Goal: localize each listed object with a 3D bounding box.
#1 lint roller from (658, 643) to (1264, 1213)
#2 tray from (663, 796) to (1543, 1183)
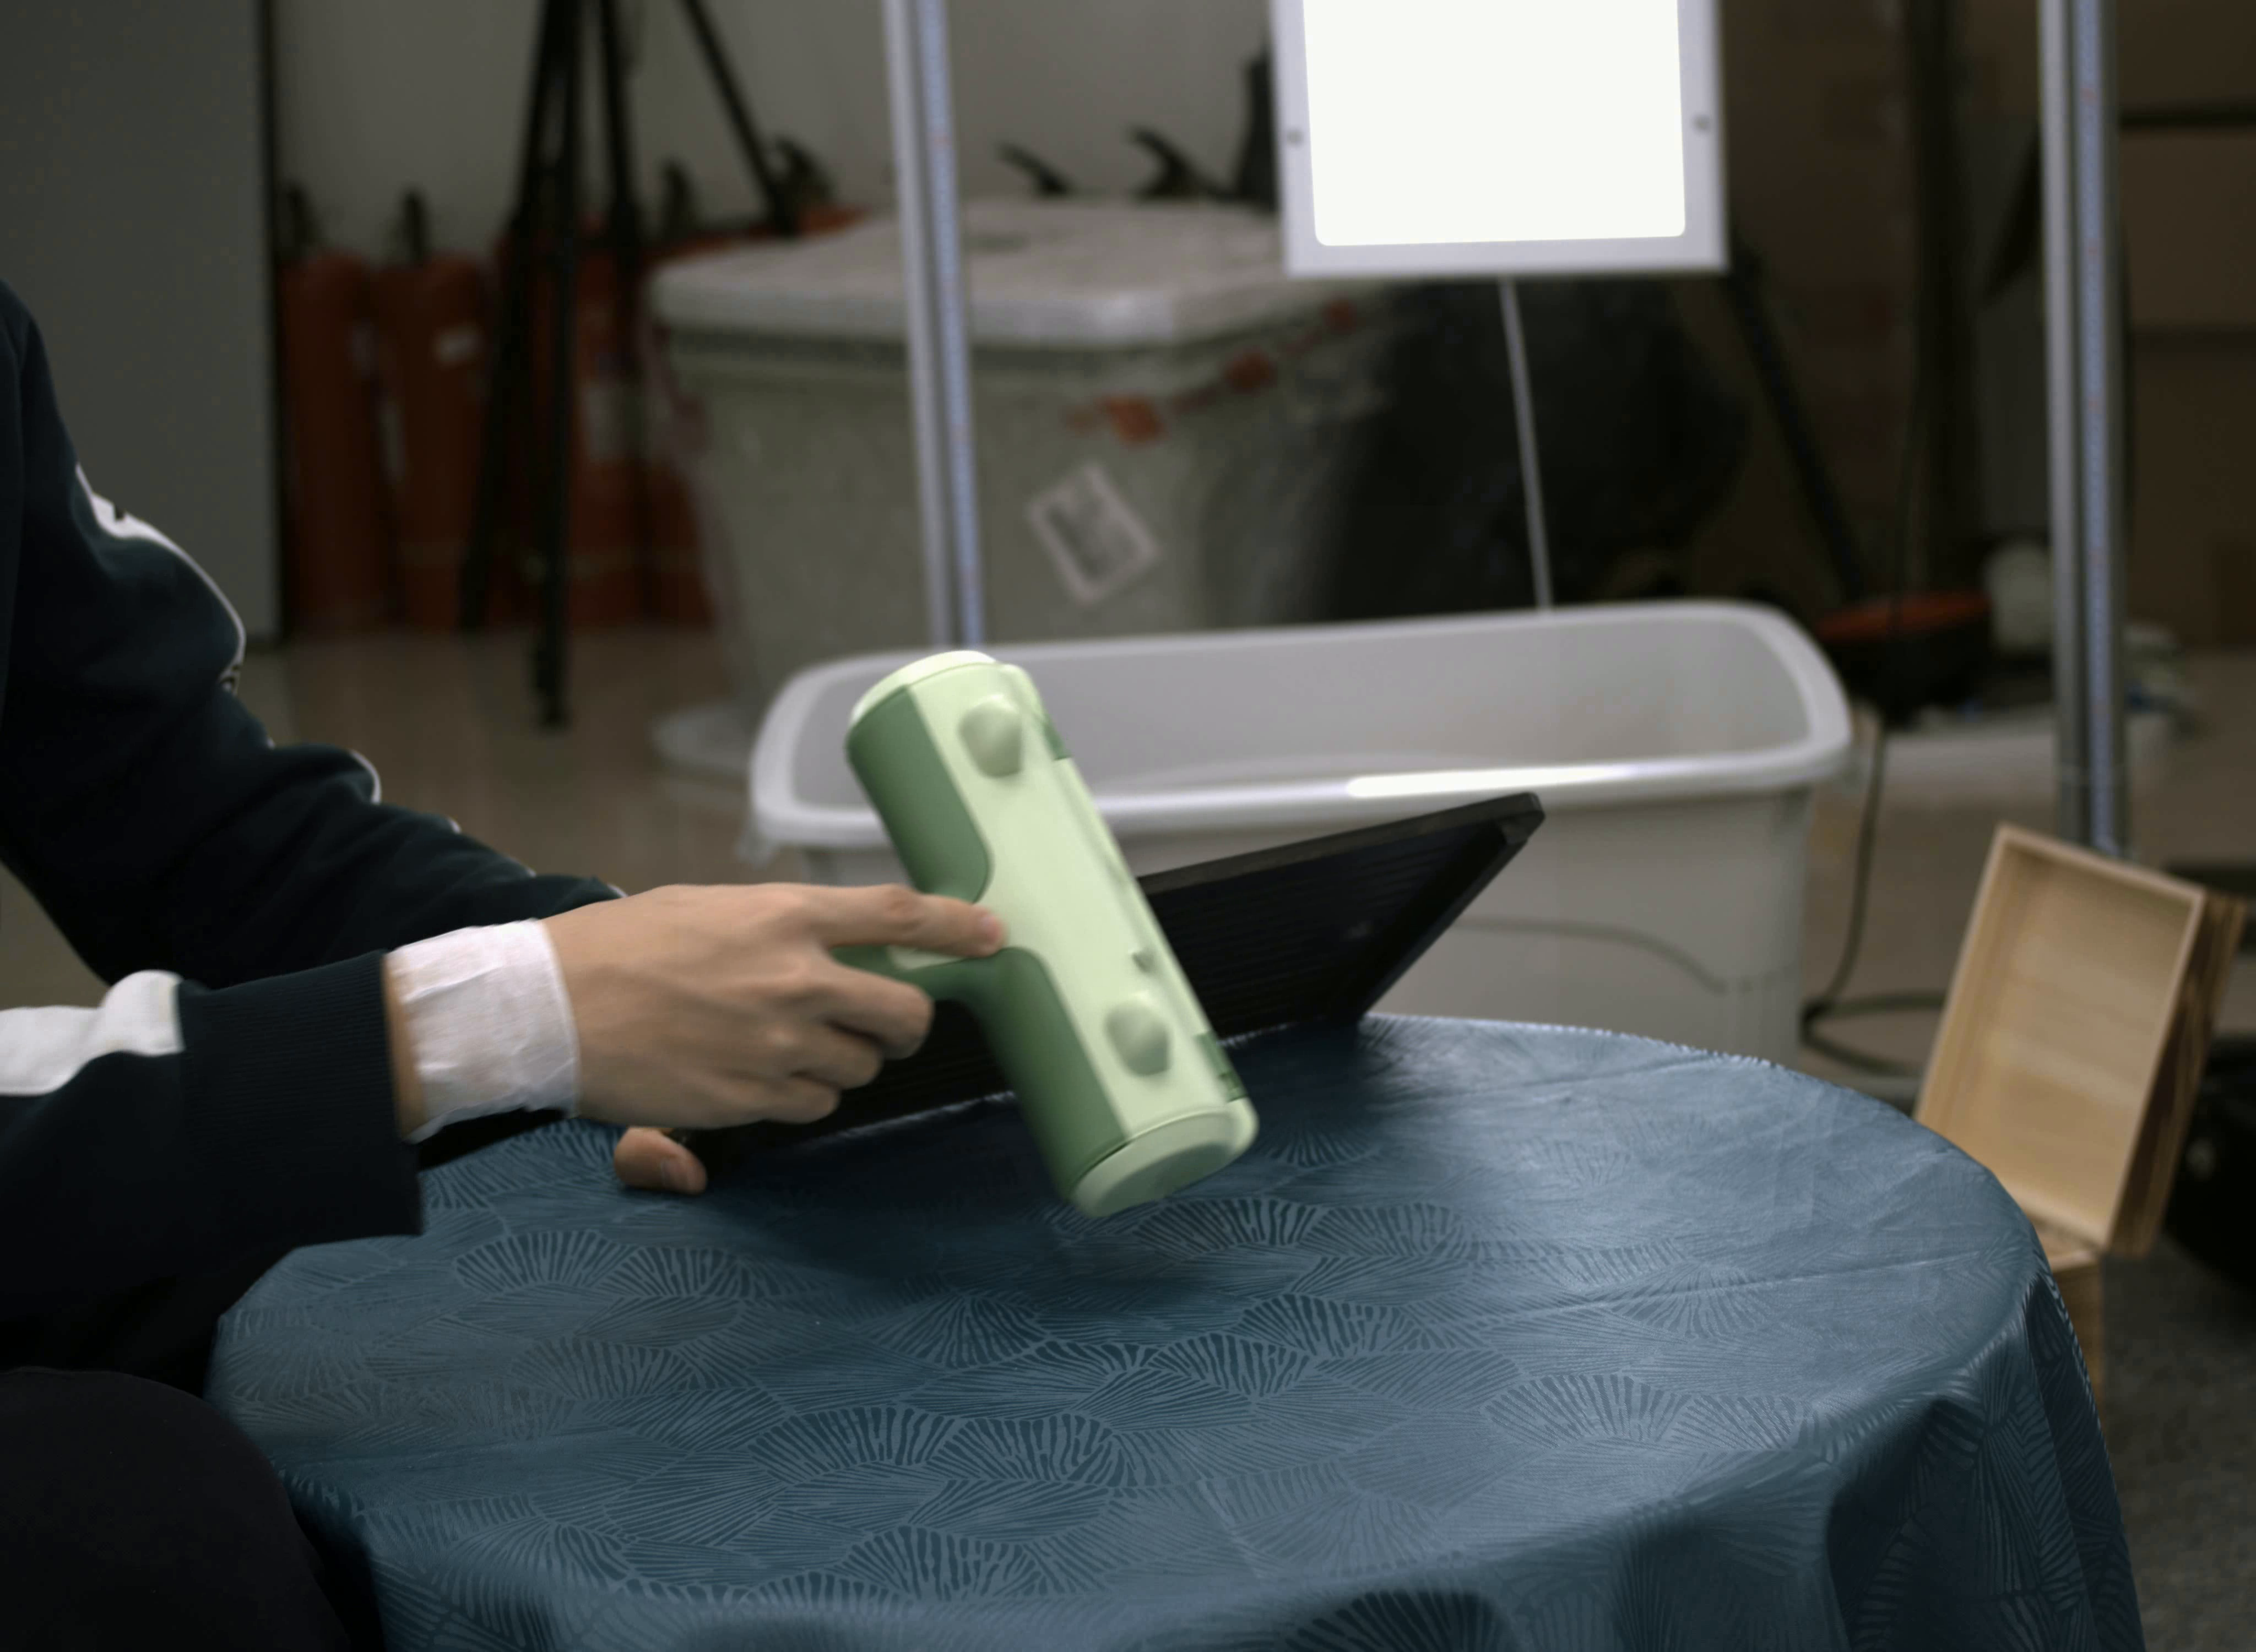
[{"bbox_3d":[-0.063,0.034,1.783,0.178,0.200,0.084,-8,-28,-38],"label":"lint roller"},{"bbox_3d":[-0.006,0.060,1.954,0.299,0.019,0.173,-12,-21,-27],"label":"tray"}]
